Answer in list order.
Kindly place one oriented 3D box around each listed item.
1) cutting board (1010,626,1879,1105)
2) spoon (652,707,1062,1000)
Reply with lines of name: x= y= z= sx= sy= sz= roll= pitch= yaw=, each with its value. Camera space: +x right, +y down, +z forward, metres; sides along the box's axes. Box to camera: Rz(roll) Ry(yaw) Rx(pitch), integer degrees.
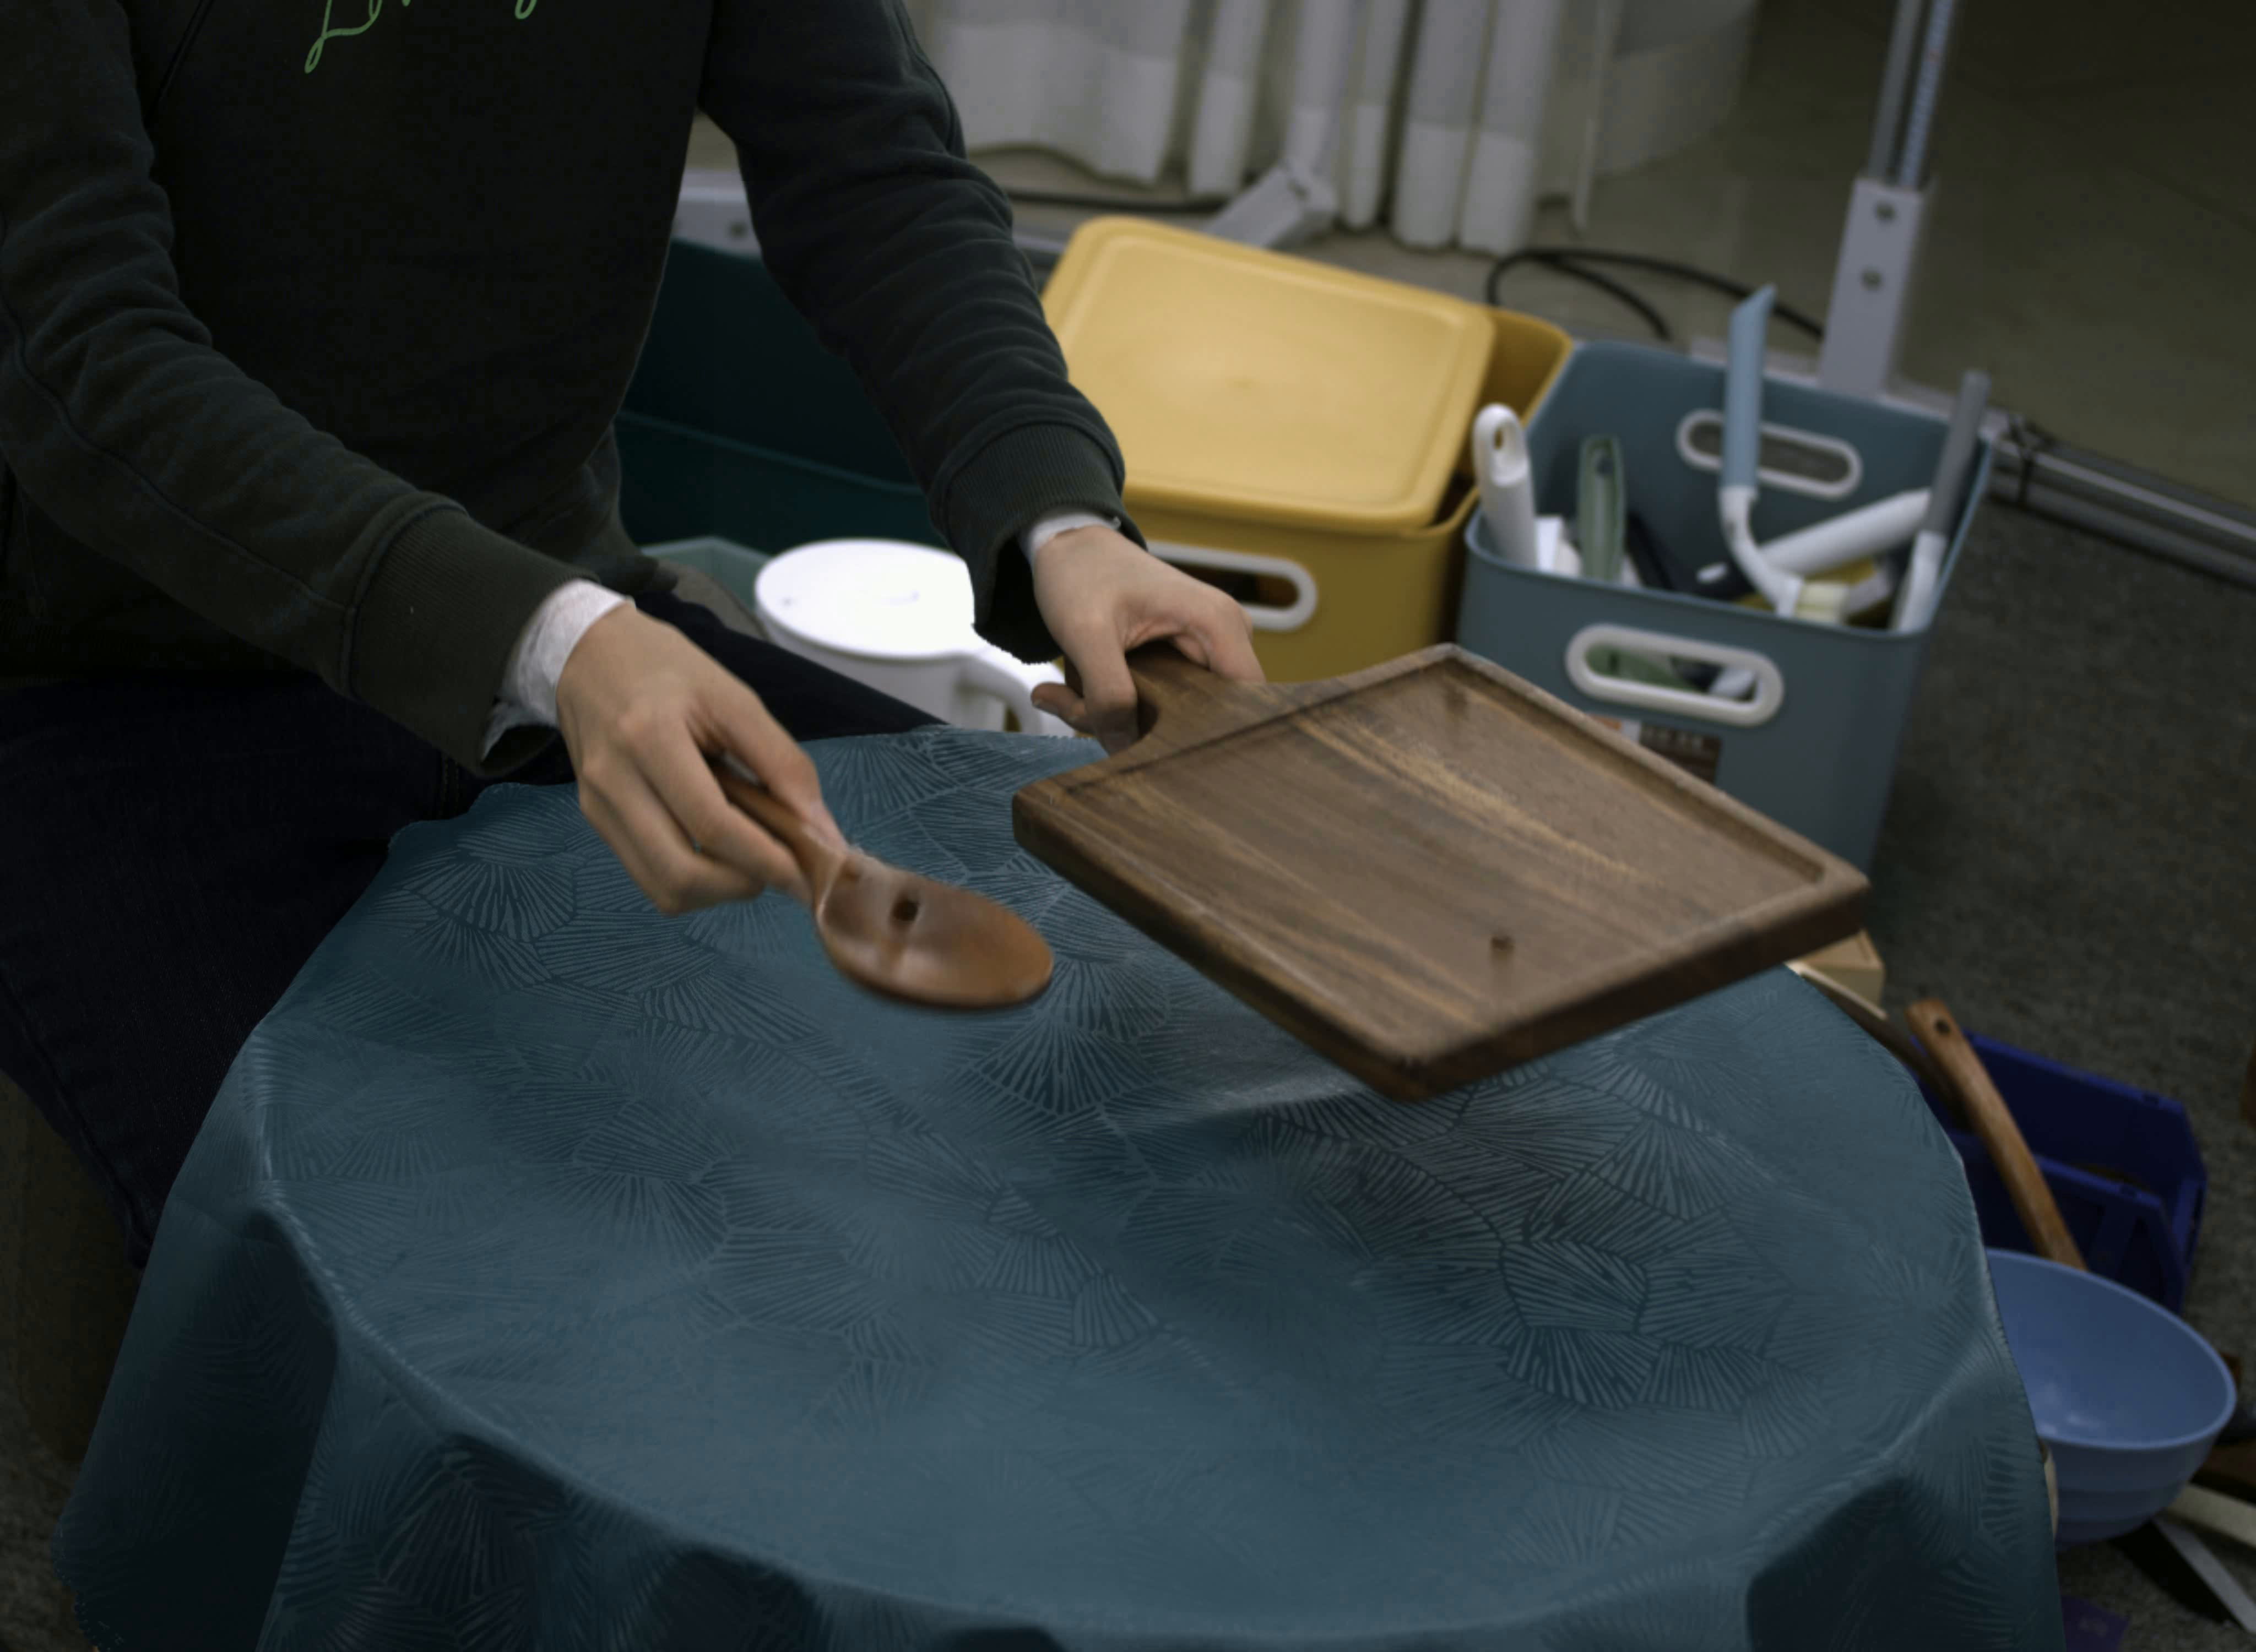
cutting board: x=0.078 y=-0.006 z=1.862 sx=0.200 sy=0.023 sz=0.355 roll=-21 pitch=30 yaw=-25
spoon: x=-0.098 y=0.010 z=1.771 sx=0.075 sy=0.017 sz=0.218 roll=-11 pitch=31 yaw=-33
